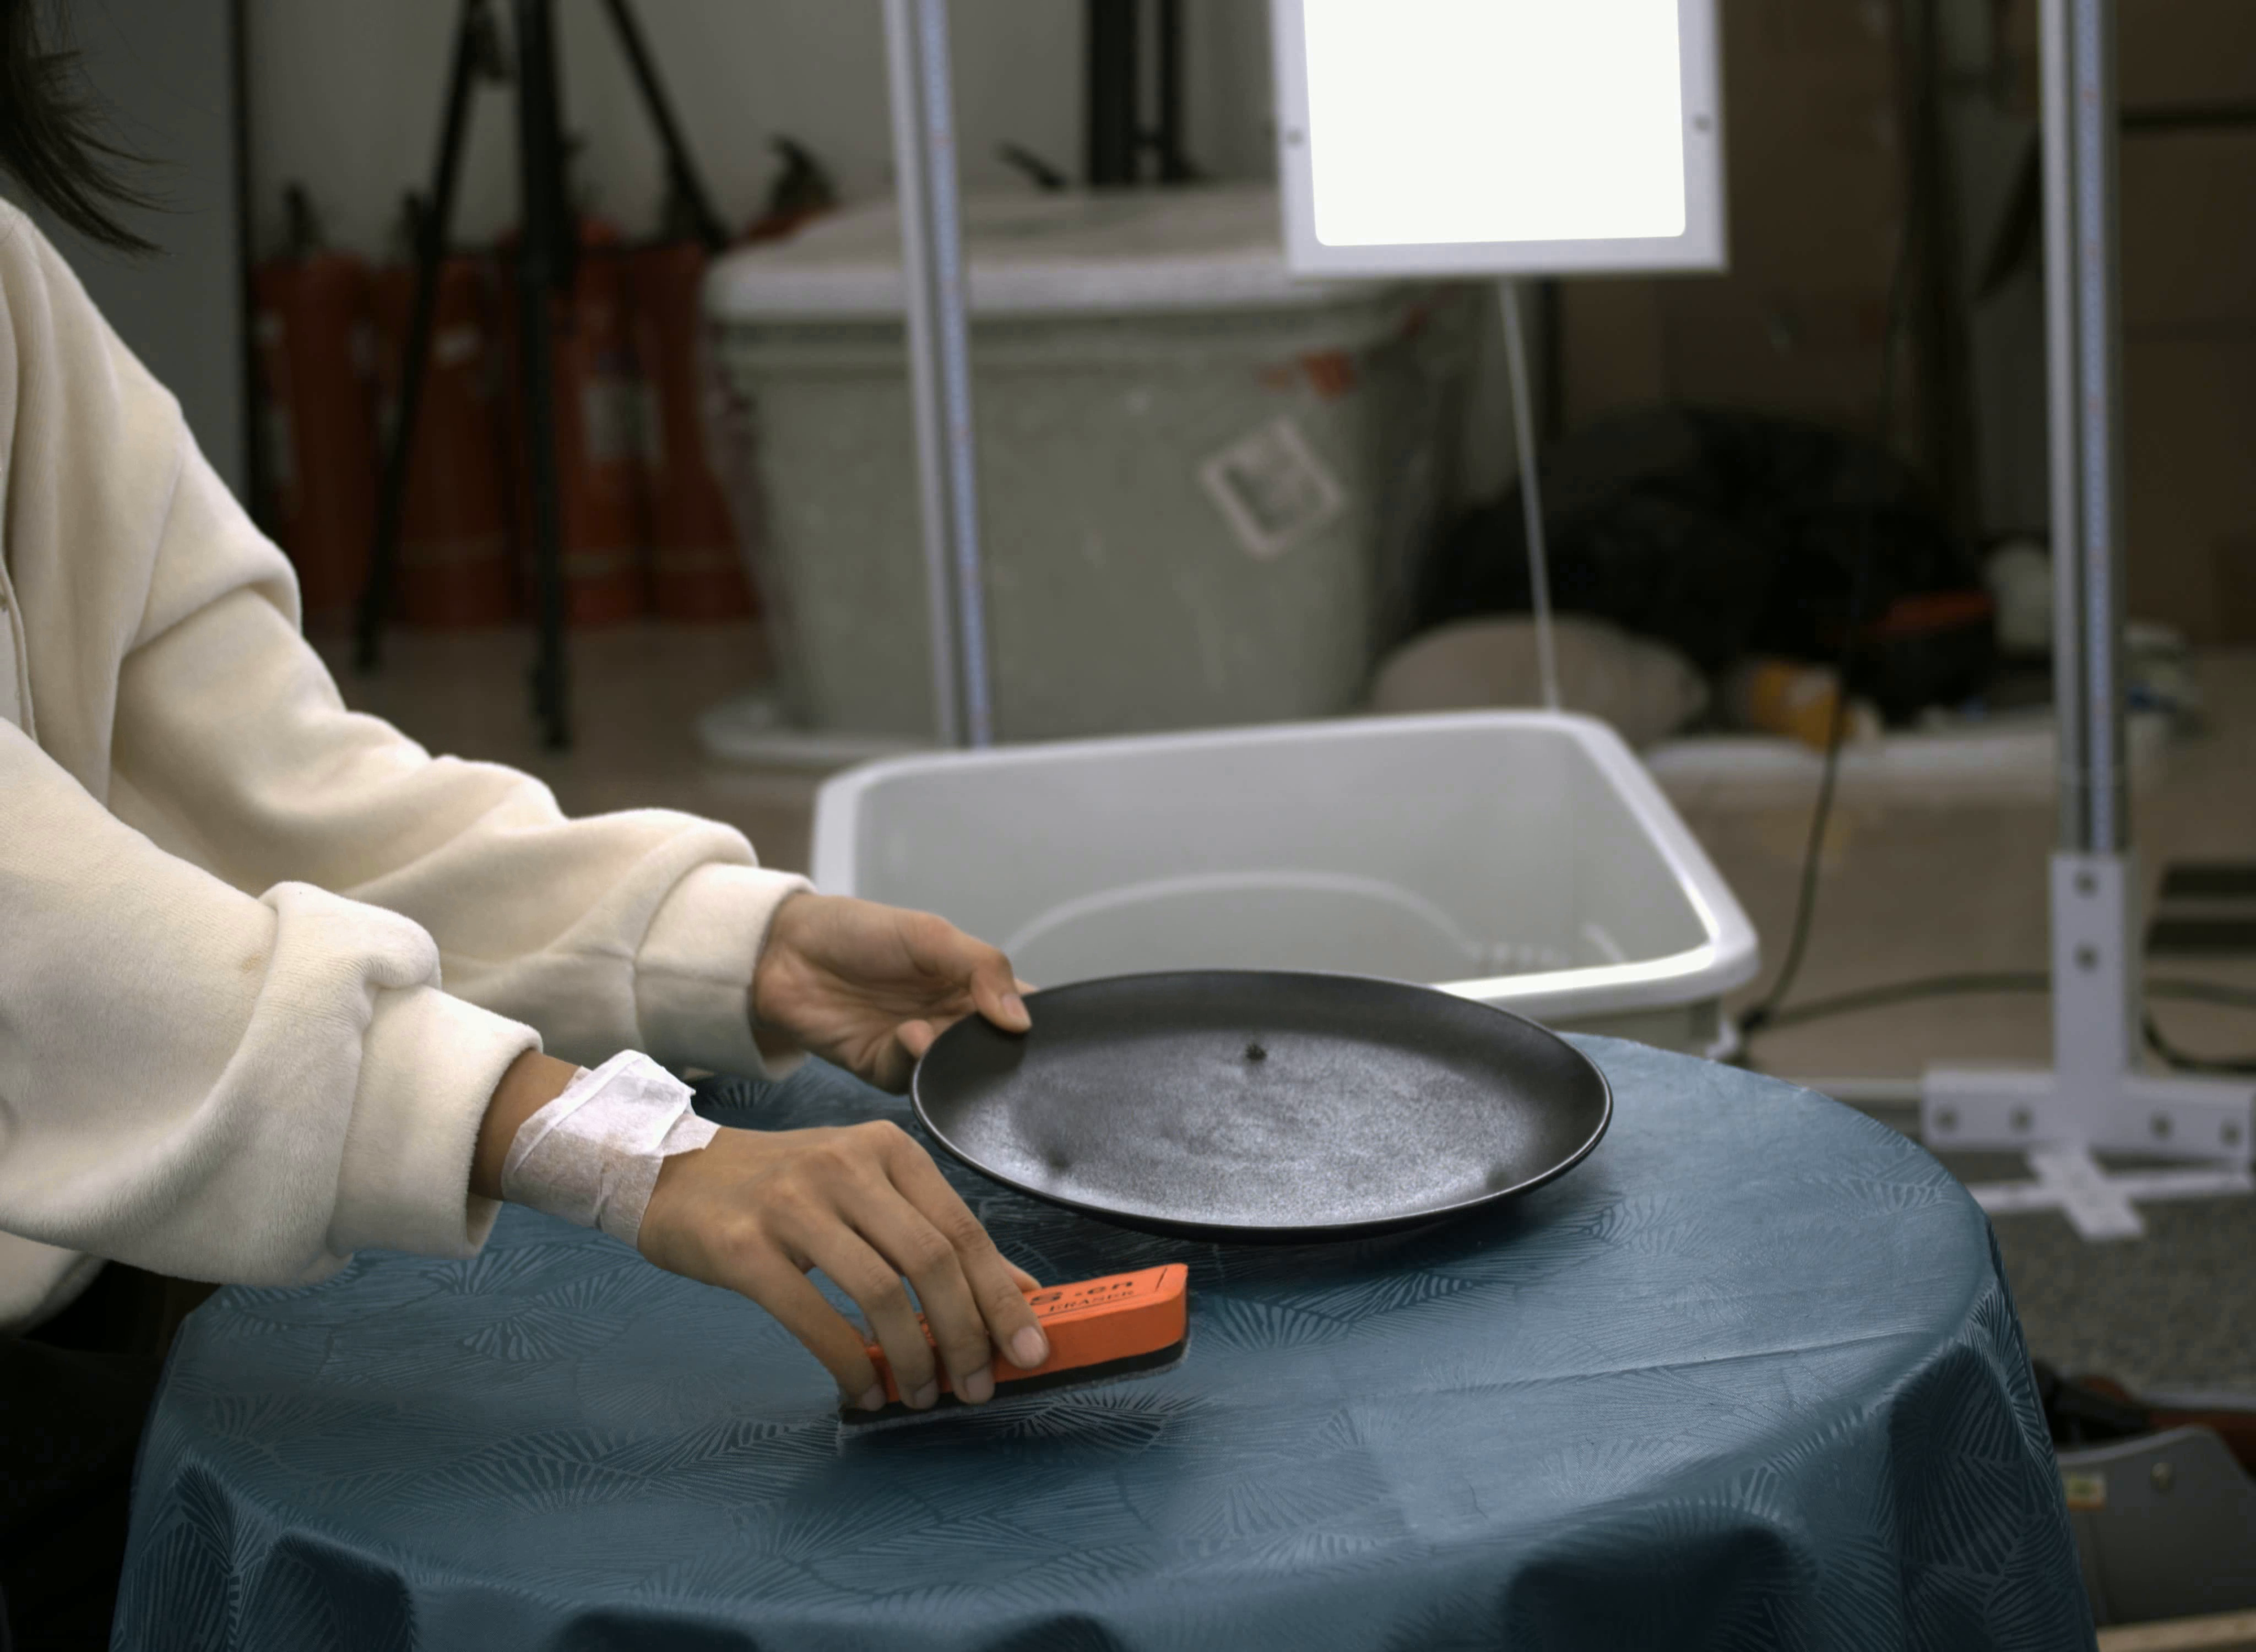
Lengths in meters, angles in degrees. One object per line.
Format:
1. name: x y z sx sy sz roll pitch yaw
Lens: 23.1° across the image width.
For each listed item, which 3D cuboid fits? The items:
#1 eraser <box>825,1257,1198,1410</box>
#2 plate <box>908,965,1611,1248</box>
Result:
1. eraser: -0.035 0.154 1.677 0.109 0.023 0.058 -9 8 13
2. plate: 0.045 0.099 1.896 0.243 0.023 0.244 -1 19 -1
